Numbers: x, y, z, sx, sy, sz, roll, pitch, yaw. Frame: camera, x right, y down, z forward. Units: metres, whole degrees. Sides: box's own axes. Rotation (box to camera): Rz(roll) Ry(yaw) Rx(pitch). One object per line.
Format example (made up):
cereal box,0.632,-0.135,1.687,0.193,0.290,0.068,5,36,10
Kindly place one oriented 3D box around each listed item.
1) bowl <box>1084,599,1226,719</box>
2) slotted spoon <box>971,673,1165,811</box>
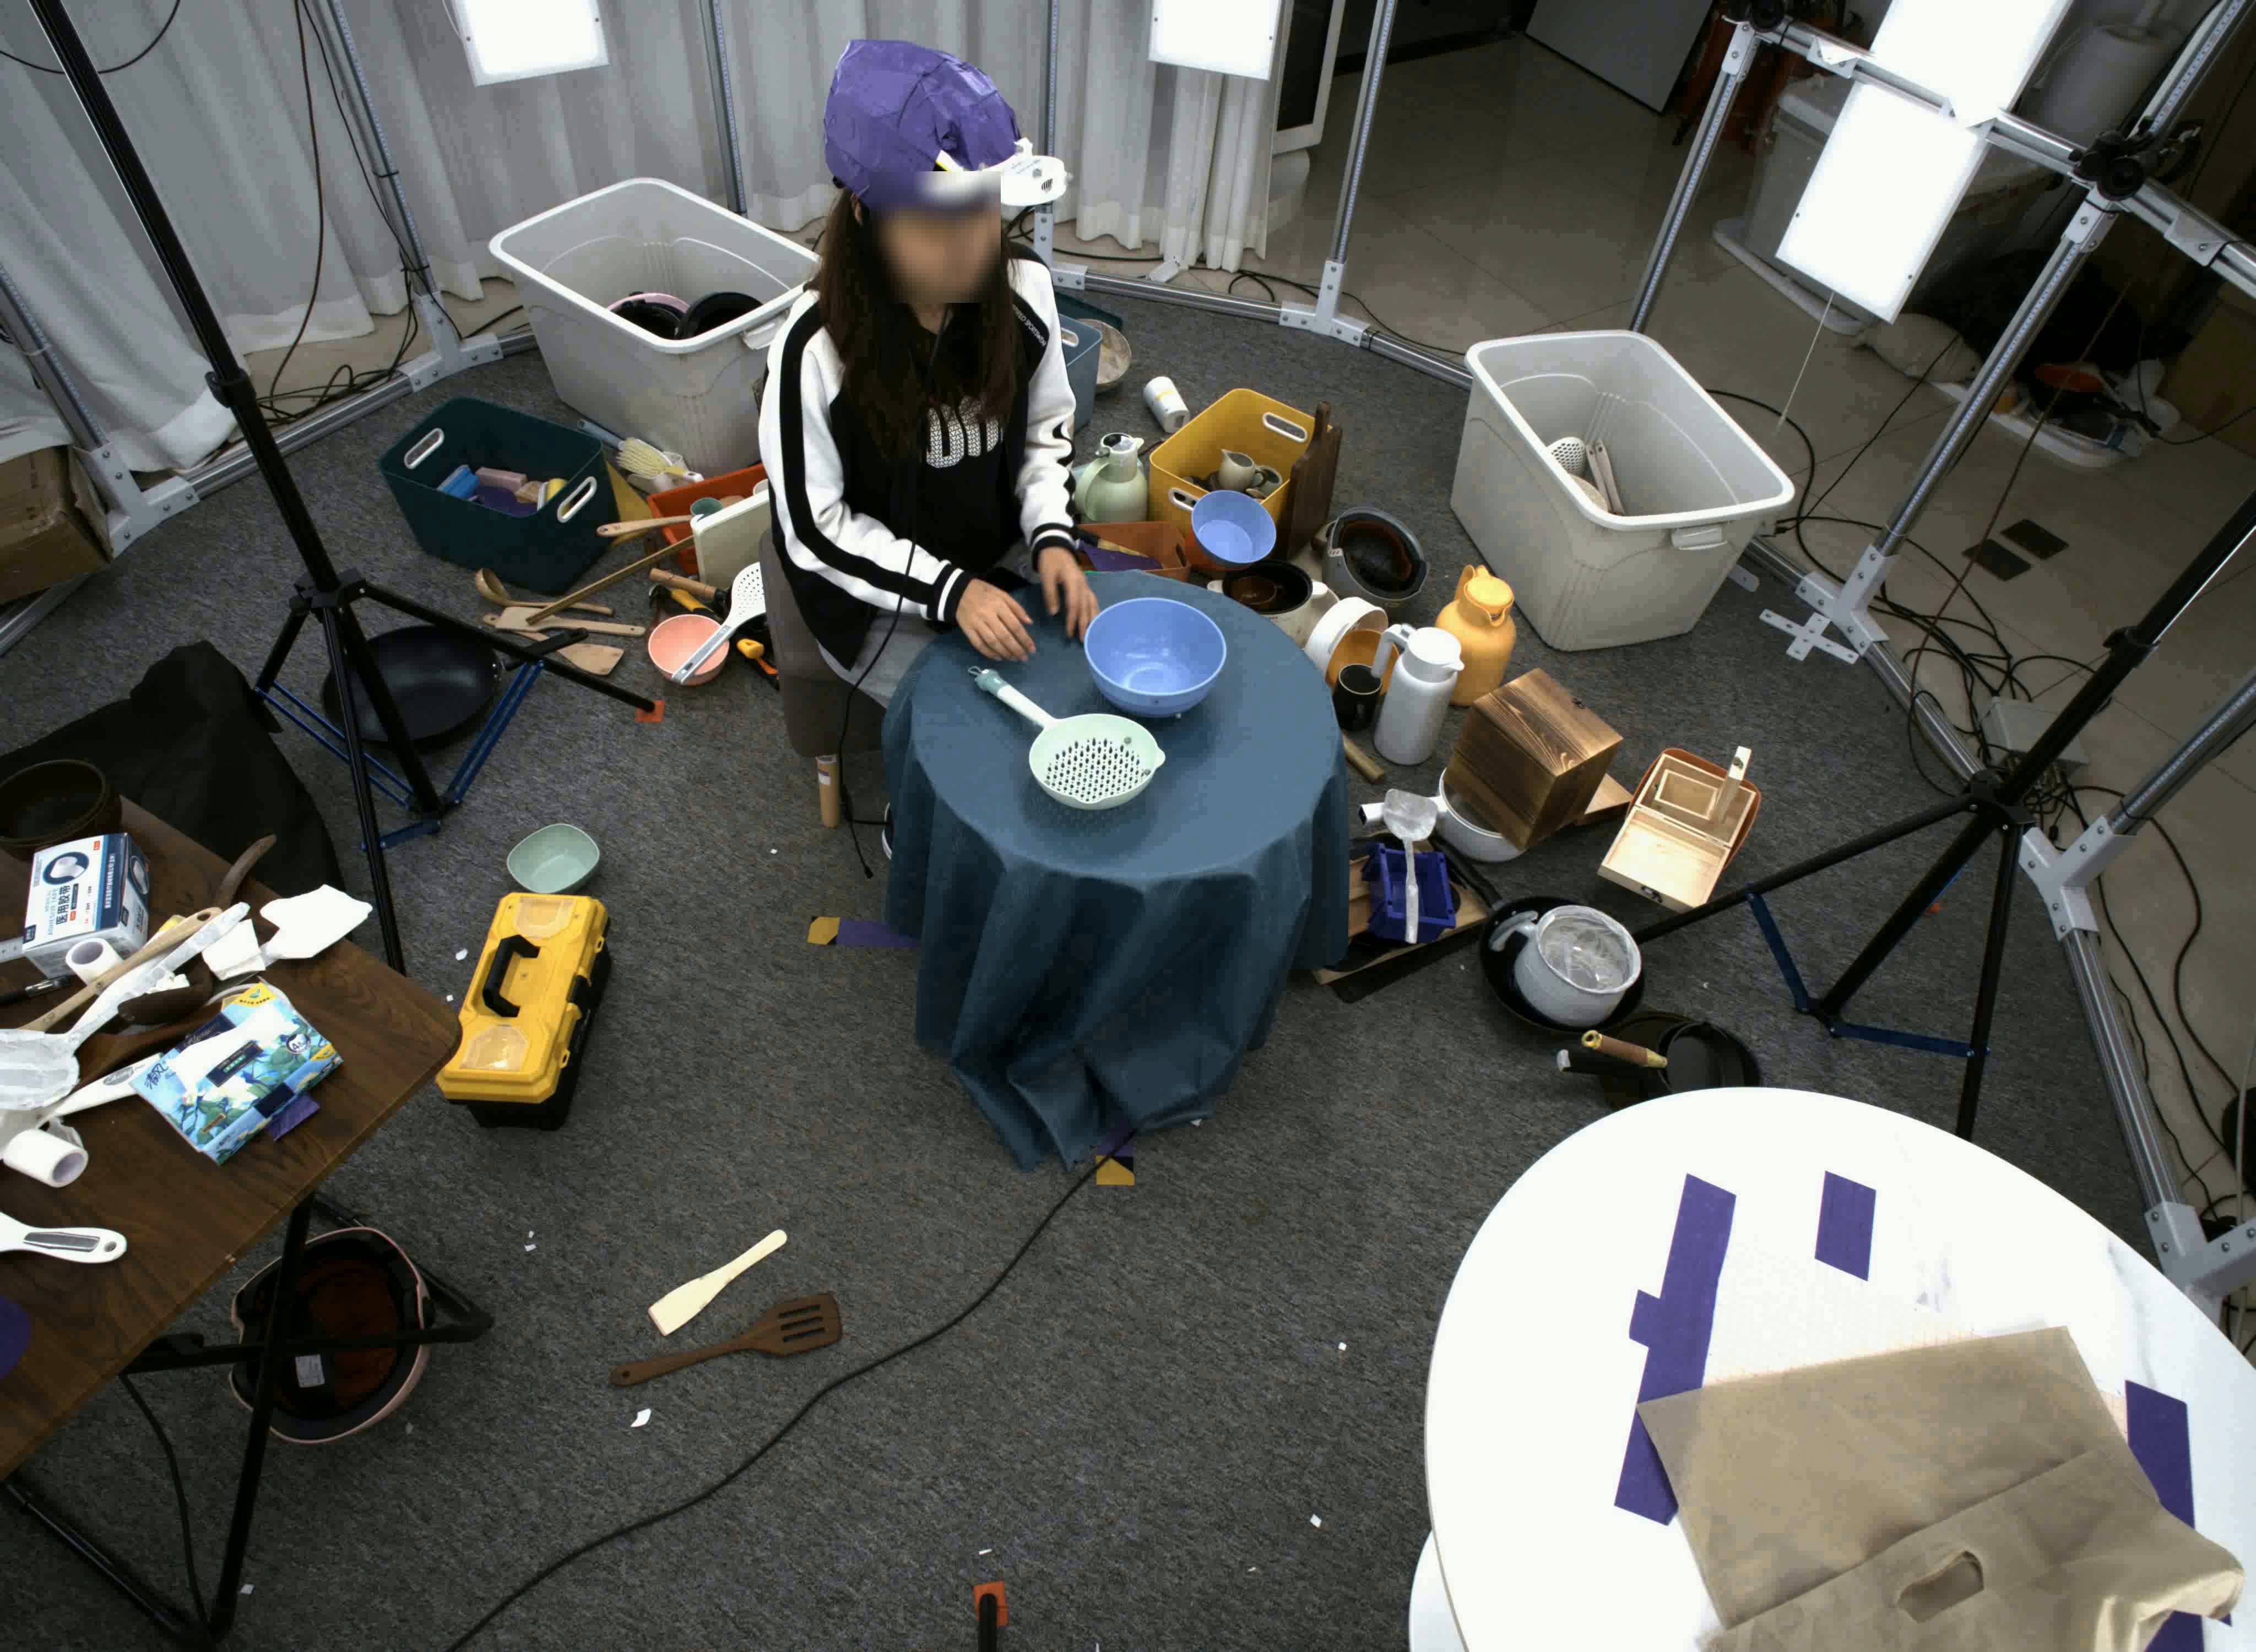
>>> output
bowl,0.035,-0.220,1.802,0.196,0.093,0.201,2,49,-2
slotted spoon,-0.107,-0.132,1.741,0.170,0.073,0.365,-30,56,-27
